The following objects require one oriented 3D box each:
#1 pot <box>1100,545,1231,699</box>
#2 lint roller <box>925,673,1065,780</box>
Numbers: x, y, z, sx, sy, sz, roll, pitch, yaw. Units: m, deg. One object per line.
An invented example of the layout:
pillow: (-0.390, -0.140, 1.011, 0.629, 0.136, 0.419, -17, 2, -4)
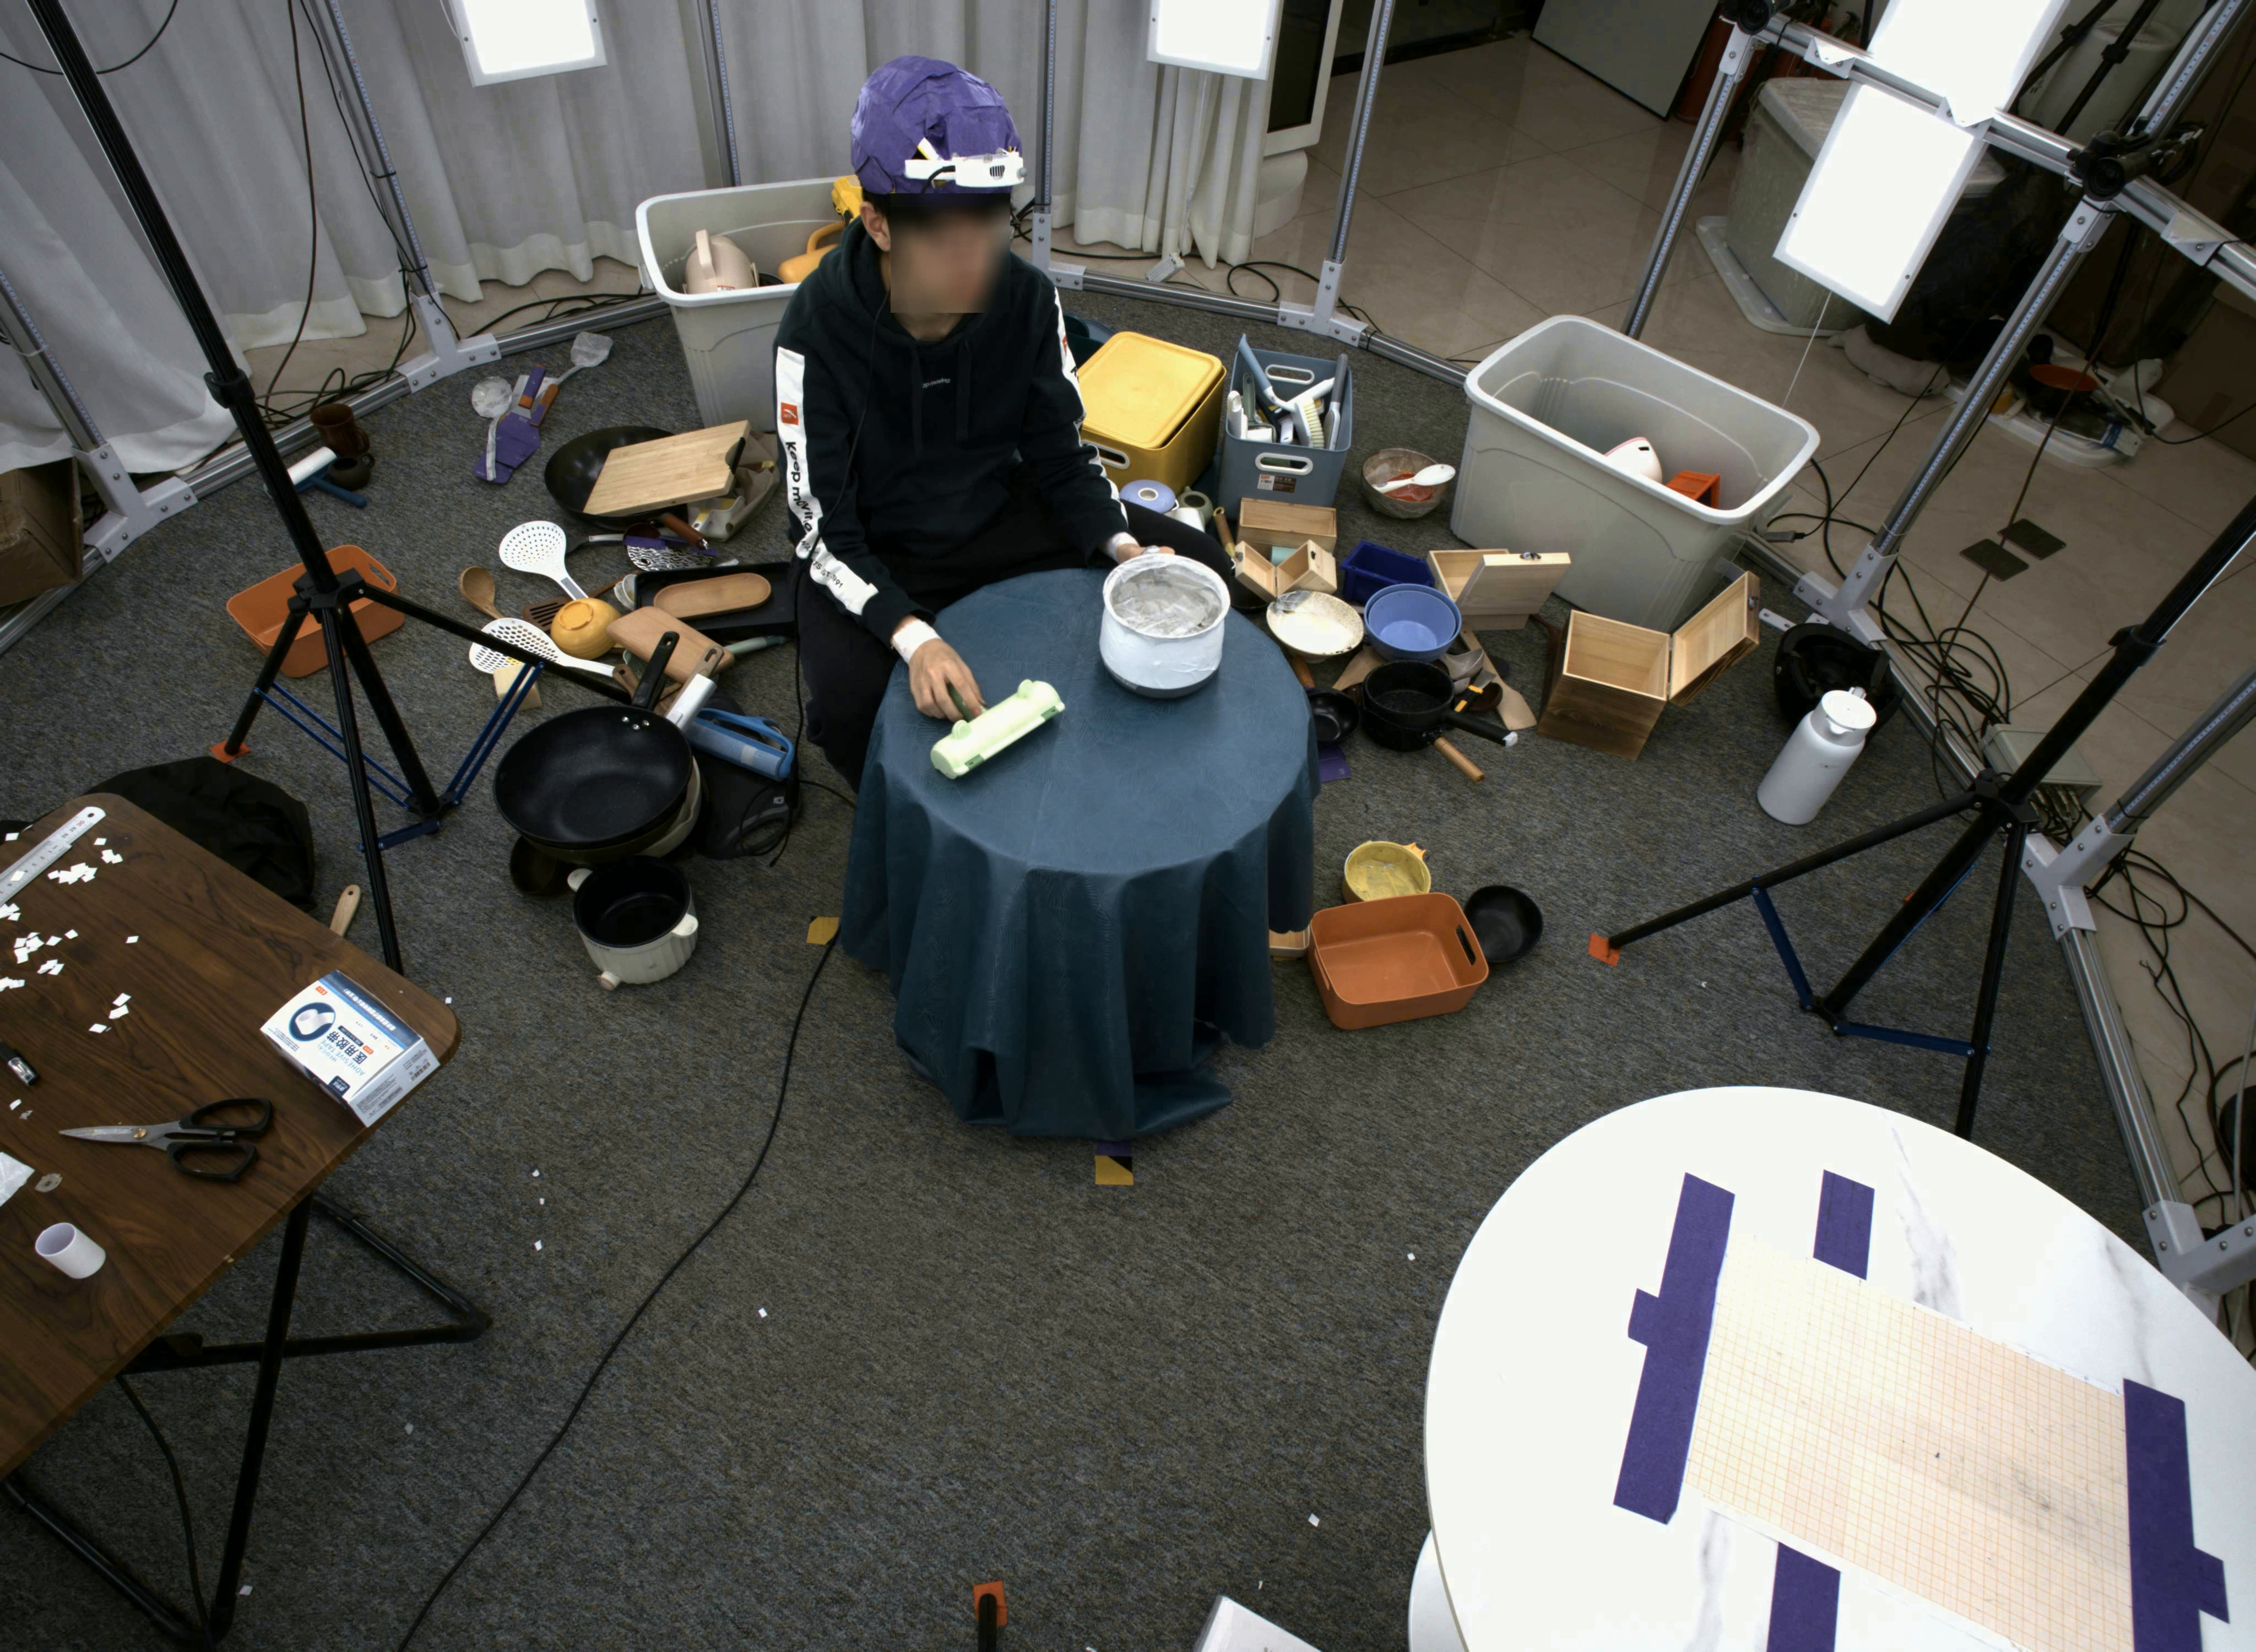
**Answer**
pot: (0.045, -0.302, 1.843, 0.178, 0.133, 0.239, -5, 51, -9)
lint roller: (-0.215, -0.170, 1.753, 0.200, 0.080, 0.186, -35, 65, -29)
